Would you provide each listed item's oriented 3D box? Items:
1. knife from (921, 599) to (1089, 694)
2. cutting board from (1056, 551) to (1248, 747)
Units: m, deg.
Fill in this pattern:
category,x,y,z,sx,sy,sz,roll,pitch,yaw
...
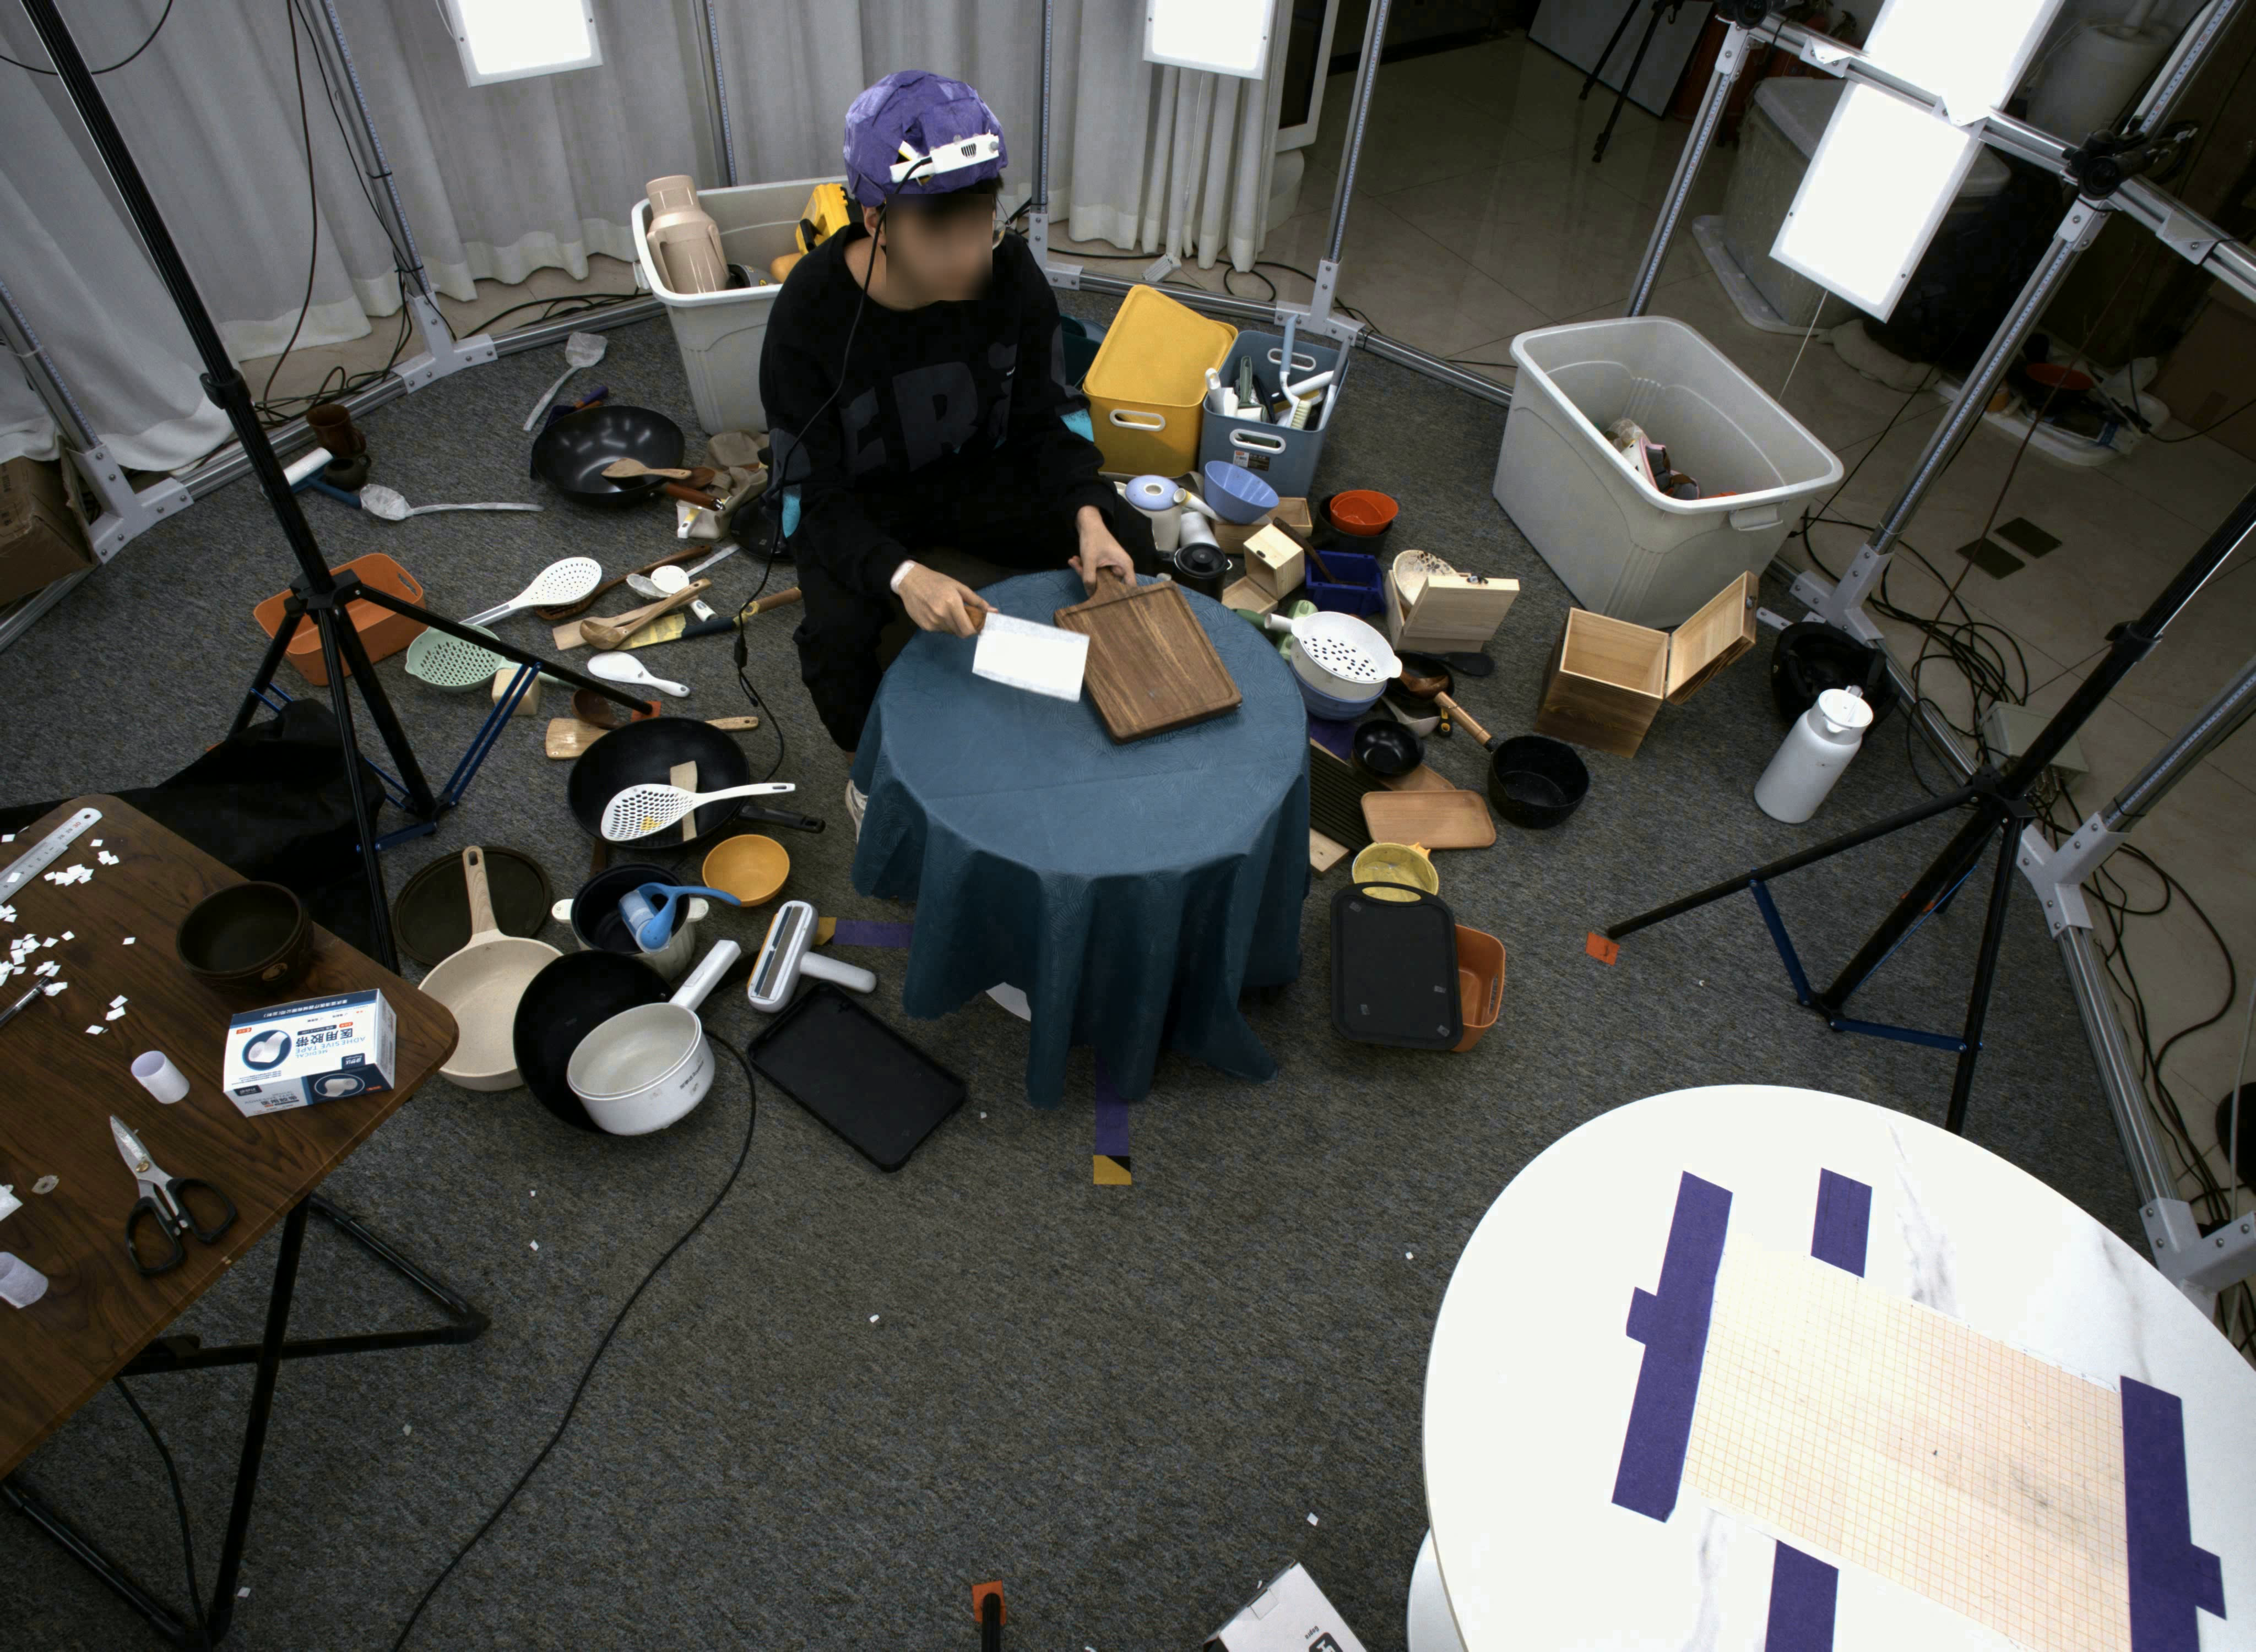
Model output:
category,x,y,z,sx,sy,sz,roll,pitch,yaw
knife,-0.176,-0.247,1.775,0.309,0.092,0.021,20,15,34
cutting board,0.012,-0.277,1.871,0.201,0.022,0.360,-17,57,-15
